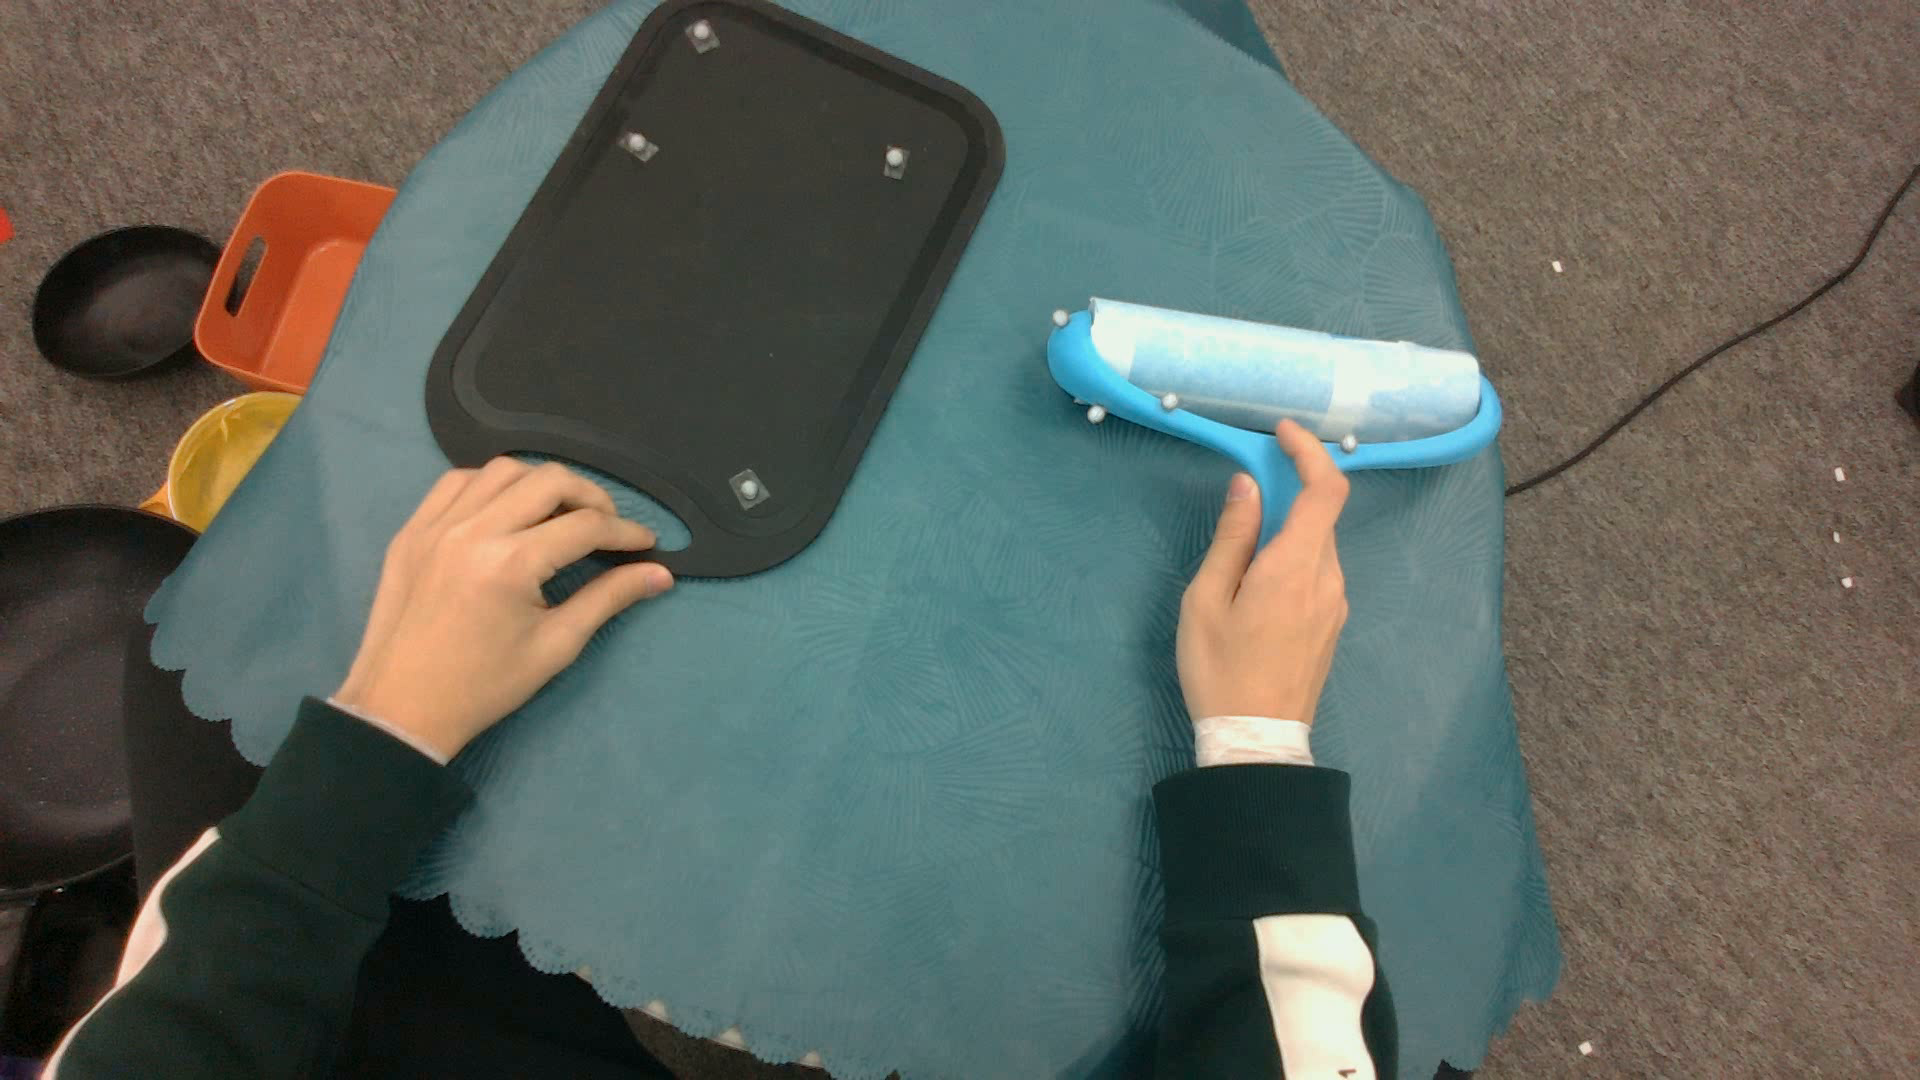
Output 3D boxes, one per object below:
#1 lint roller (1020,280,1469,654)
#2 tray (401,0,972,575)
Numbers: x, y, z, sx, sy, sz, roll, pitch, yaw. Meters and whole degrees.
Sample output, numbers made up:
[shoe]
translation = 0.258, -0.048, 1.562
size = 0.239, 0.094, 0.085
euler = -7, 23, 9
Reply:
[lint roller]
translation = 0.142, -0.038, 0.677
size = 0.229, 0.067, 0.181
euler = 4, 71, -7
[tray]
translation = -0.135, -0.139, 0.703
size = 0.211, 0.010, 0.326
euler = 23, 71, 1
